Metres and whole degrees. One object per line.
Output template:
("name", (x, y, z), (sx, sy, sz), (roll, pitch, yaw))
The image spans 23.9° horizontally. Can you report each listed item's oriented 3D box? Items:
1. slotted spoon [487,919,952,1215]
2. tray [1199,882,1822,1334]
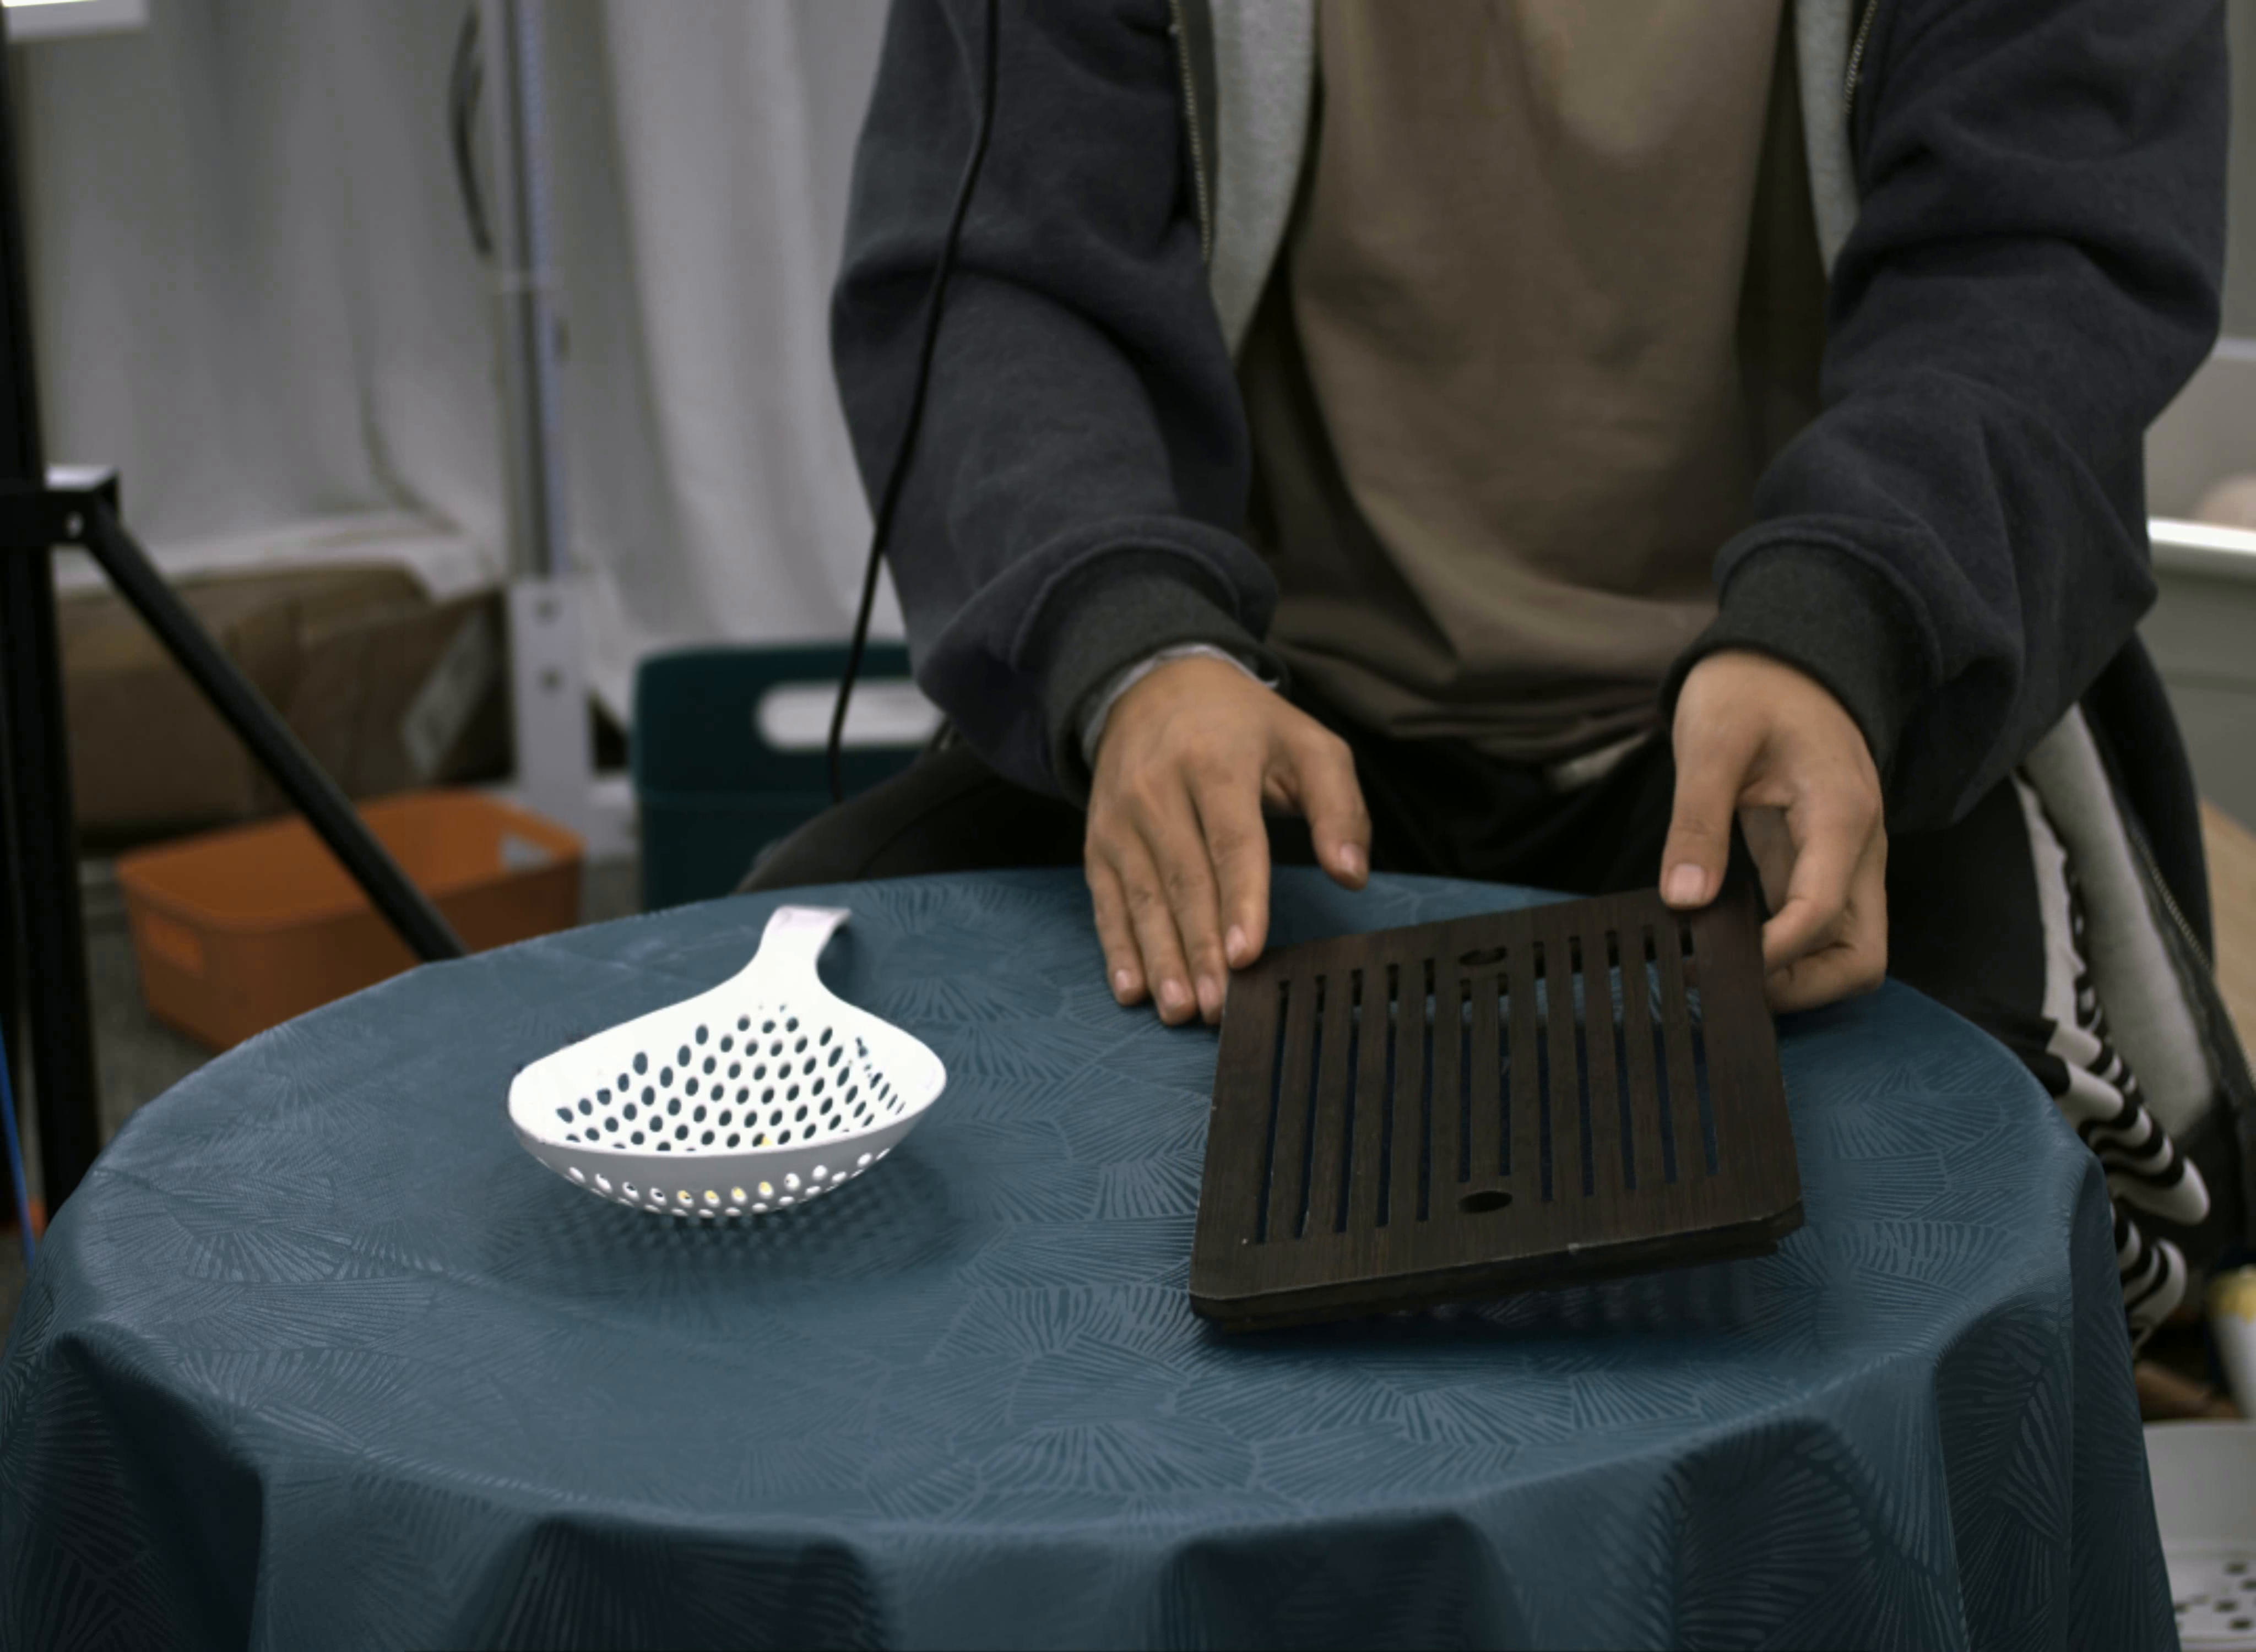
("slotted spoon", (-0.113, 0.061, 1.668), (0.136, 0.050, 0.348), (-4, 16, 4))
("tray", (0.111, 0.080, 1.562), (0.170, 0.018, 0.306), (-9, 16, 6))
